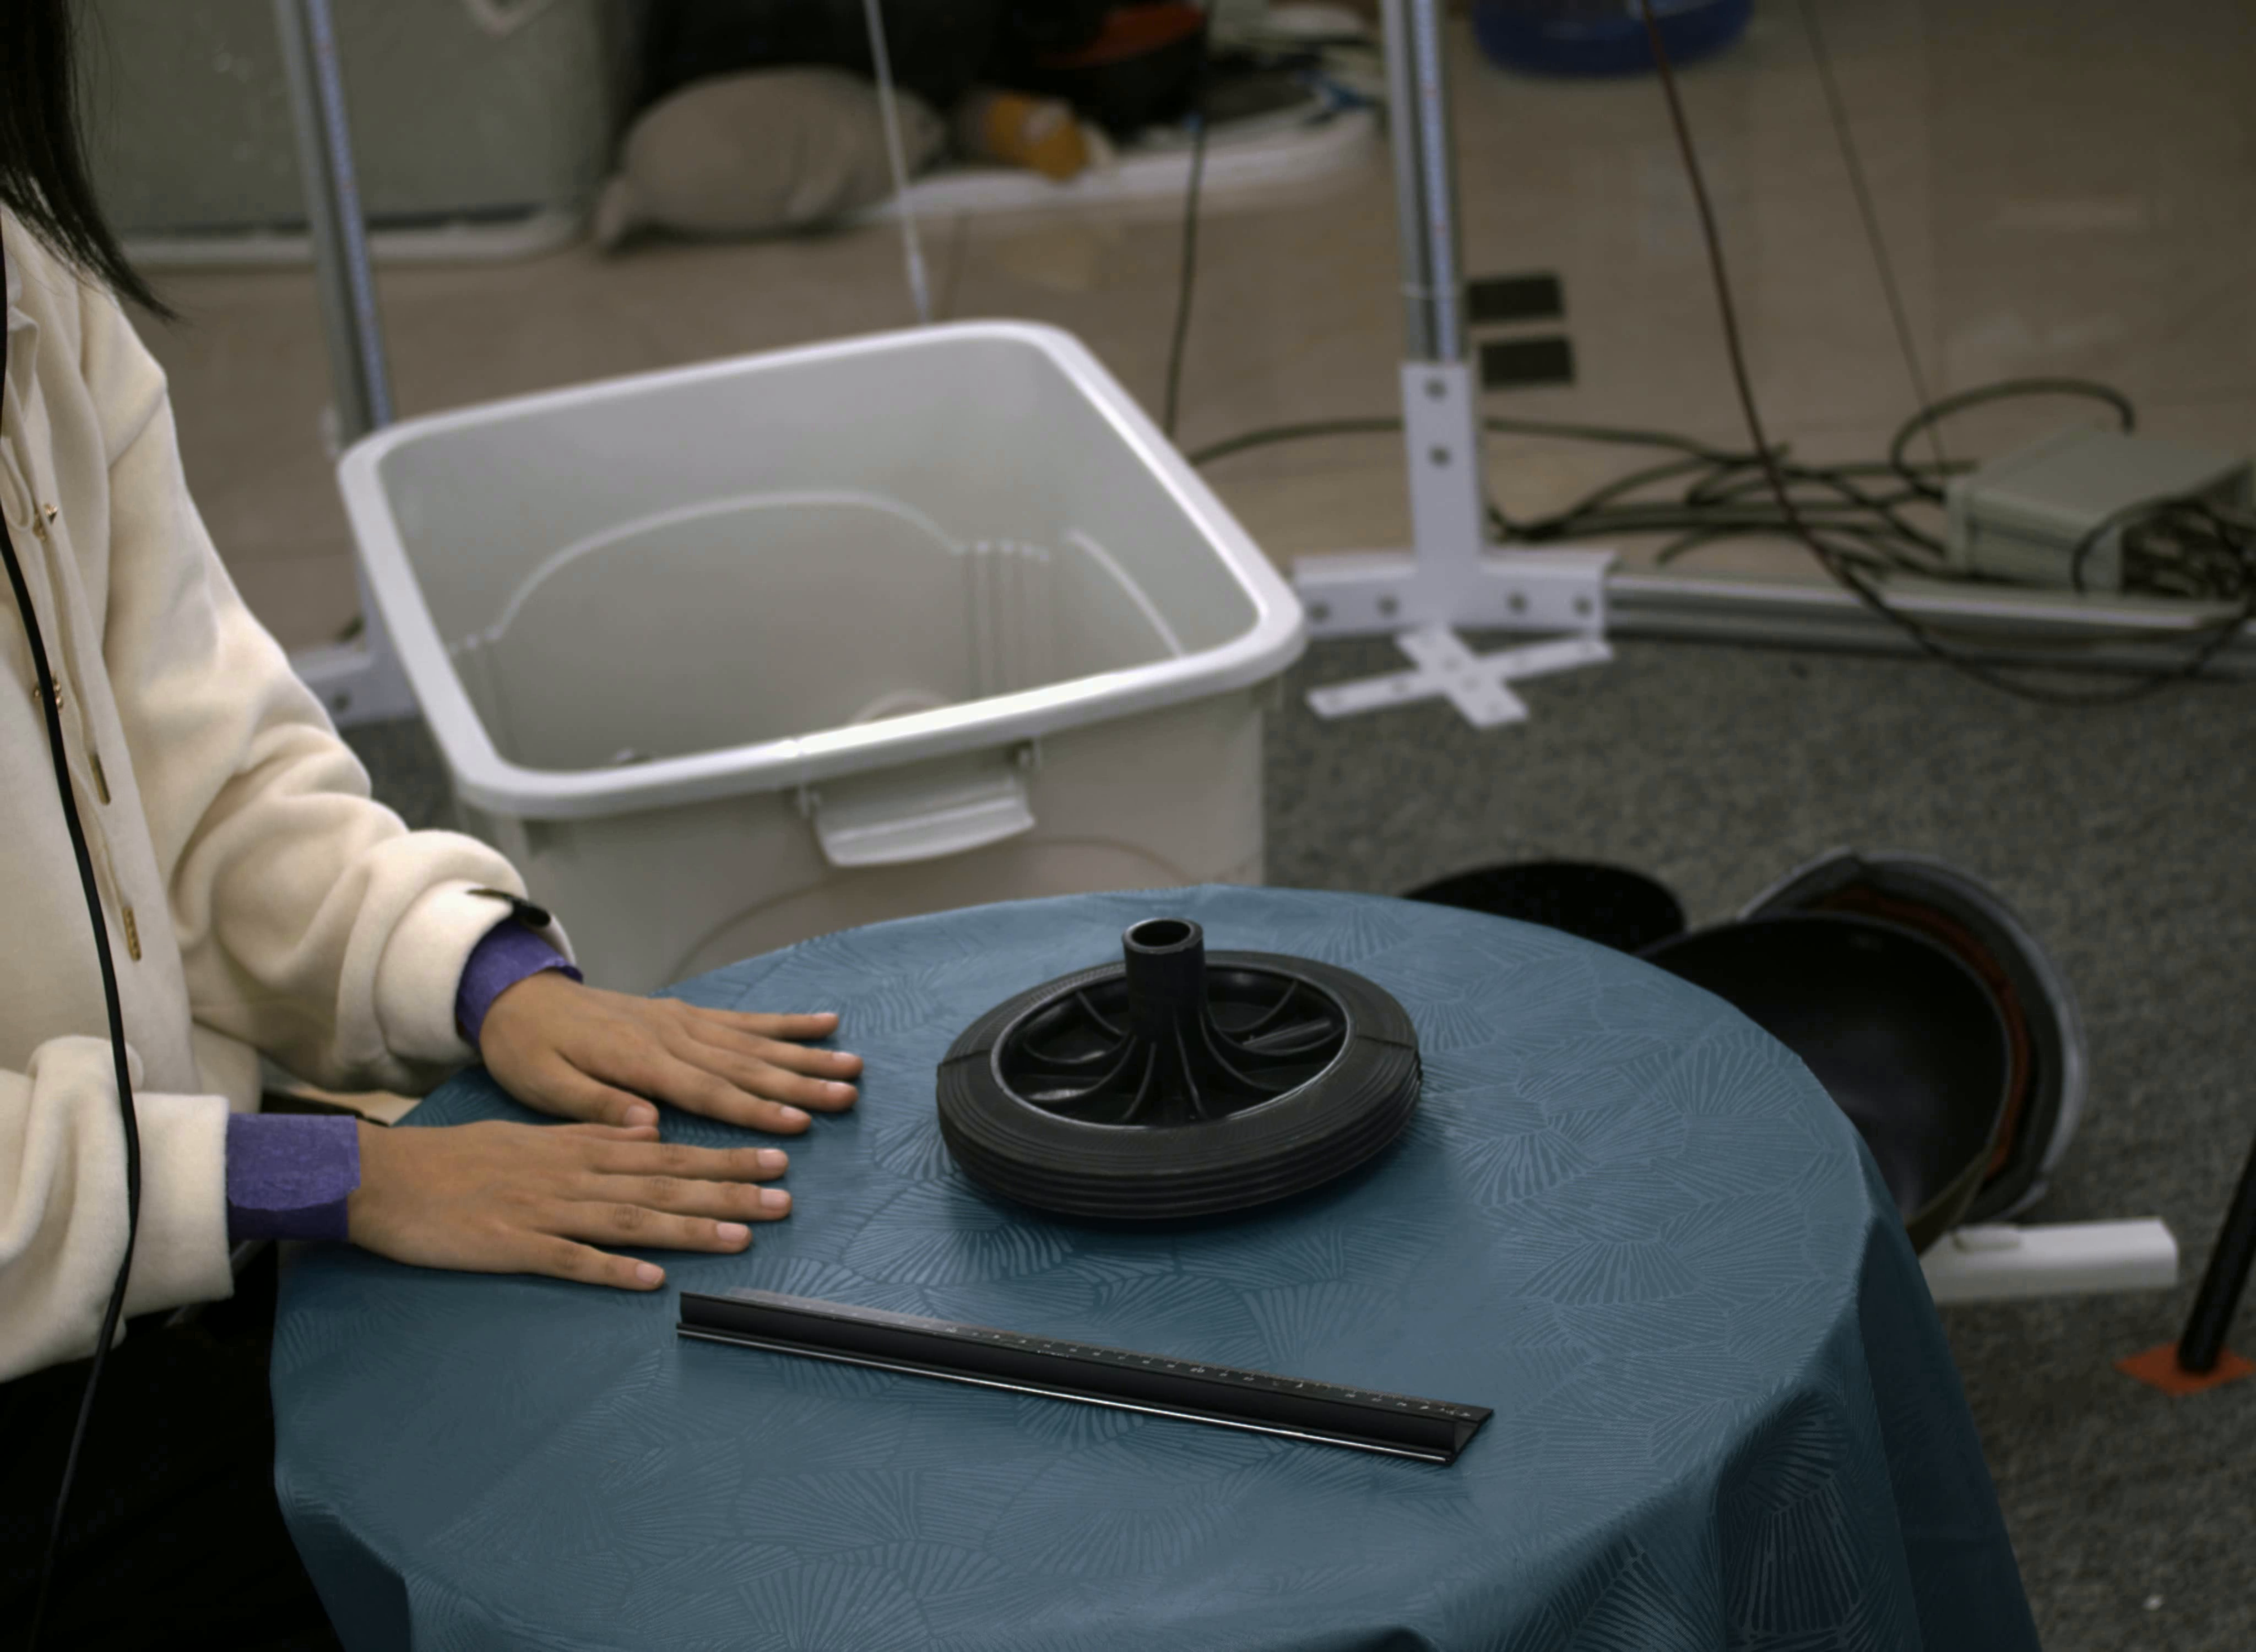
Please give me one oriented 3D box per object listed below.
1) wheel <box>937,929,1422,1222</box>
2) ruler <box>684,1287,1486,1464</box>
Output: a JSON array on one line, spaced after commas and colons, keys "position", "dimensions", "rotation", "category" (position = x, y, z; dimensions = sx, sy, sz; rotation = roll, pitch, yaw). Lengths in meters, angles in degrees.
[{"position": [0.018, 0.081, 2.177], "dimensions": [0.186, 0.080, 0.188], "rotation": [18, 34, 41], "category": "wheel"}, {"position": [-0.019, 0.189, 2.027], "dimensions": [0.311, 0.017, 0.039], "rotation": [7, 24, 28], "category": "ruler"}]
